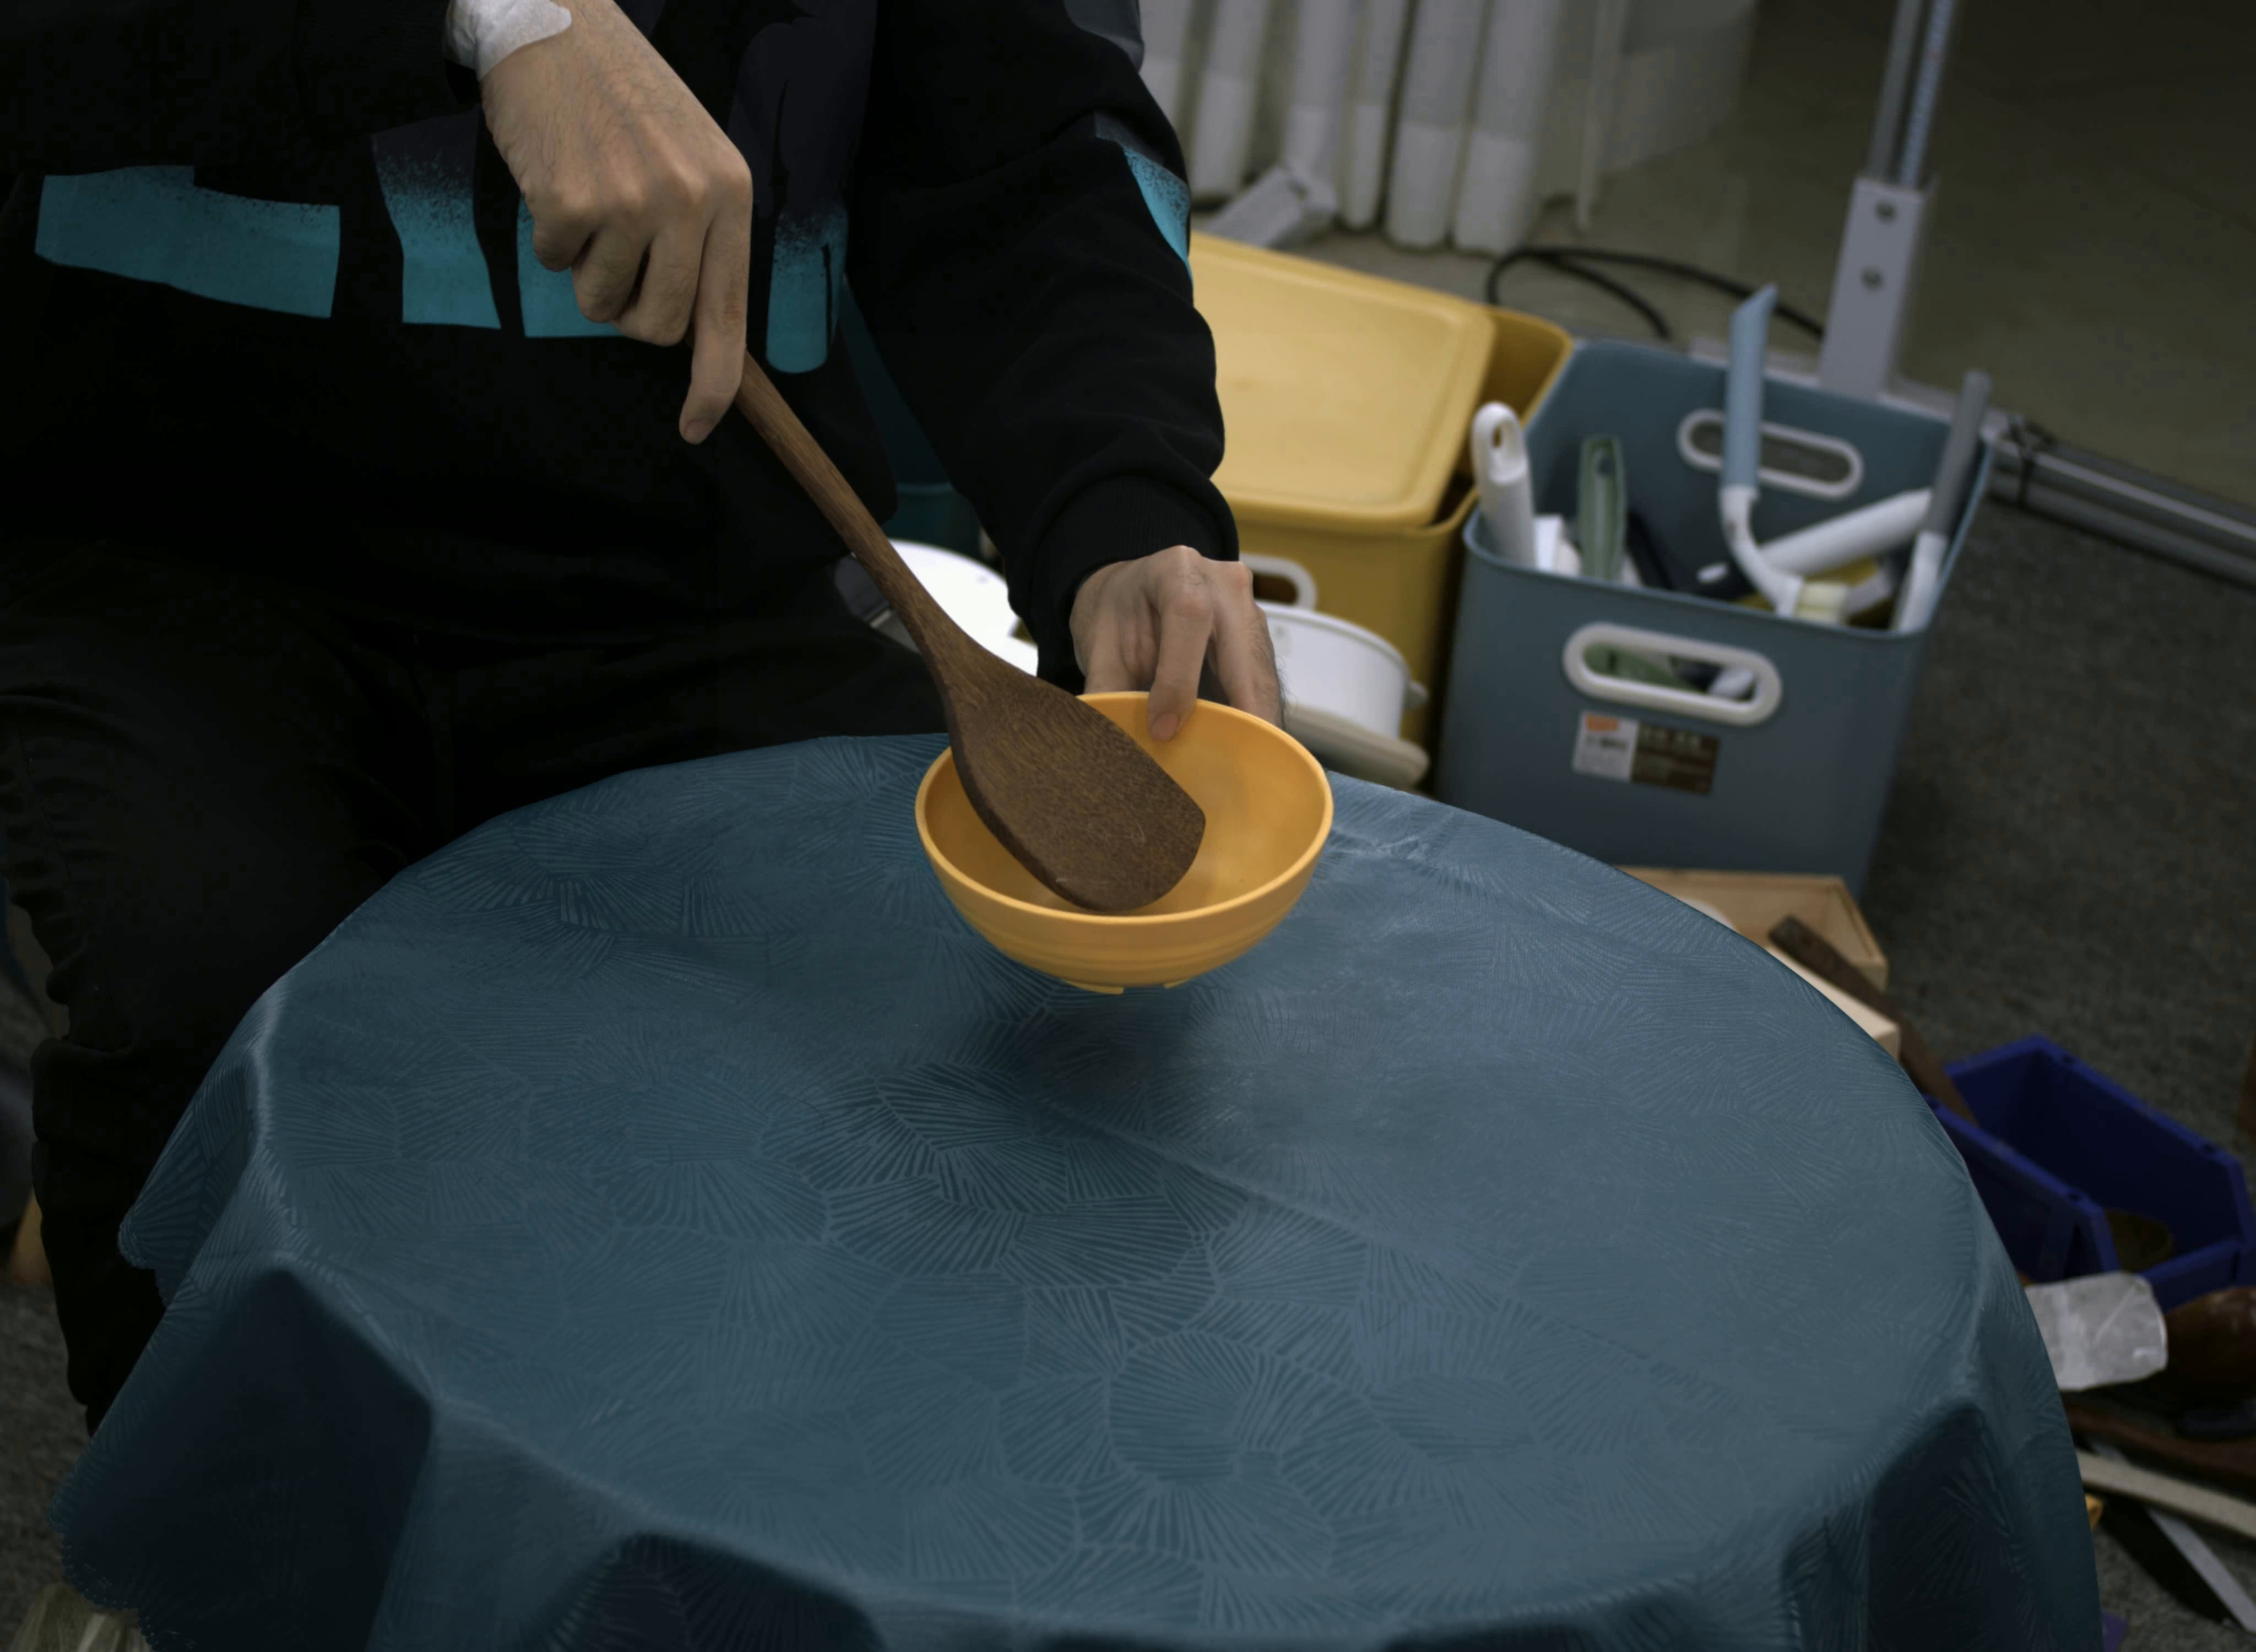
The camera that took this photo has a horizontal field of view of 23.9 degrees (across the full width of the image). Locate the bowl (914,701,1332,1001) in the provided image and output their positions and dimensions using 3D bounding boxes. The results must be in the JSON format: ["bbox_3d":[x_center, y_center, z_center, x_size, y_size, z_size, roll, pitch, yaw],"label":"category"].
[{"bbox_3d":[-0.002,0.018,1.849,0.145,0.060,0.146,1,32,-1],"label":"bowl"}]

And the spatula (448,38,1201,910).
[{"bbox_3d":[-0.110,-0.125,1.840,0.386,0.016,0.096,51,36,3],"label":"spatula"}]
